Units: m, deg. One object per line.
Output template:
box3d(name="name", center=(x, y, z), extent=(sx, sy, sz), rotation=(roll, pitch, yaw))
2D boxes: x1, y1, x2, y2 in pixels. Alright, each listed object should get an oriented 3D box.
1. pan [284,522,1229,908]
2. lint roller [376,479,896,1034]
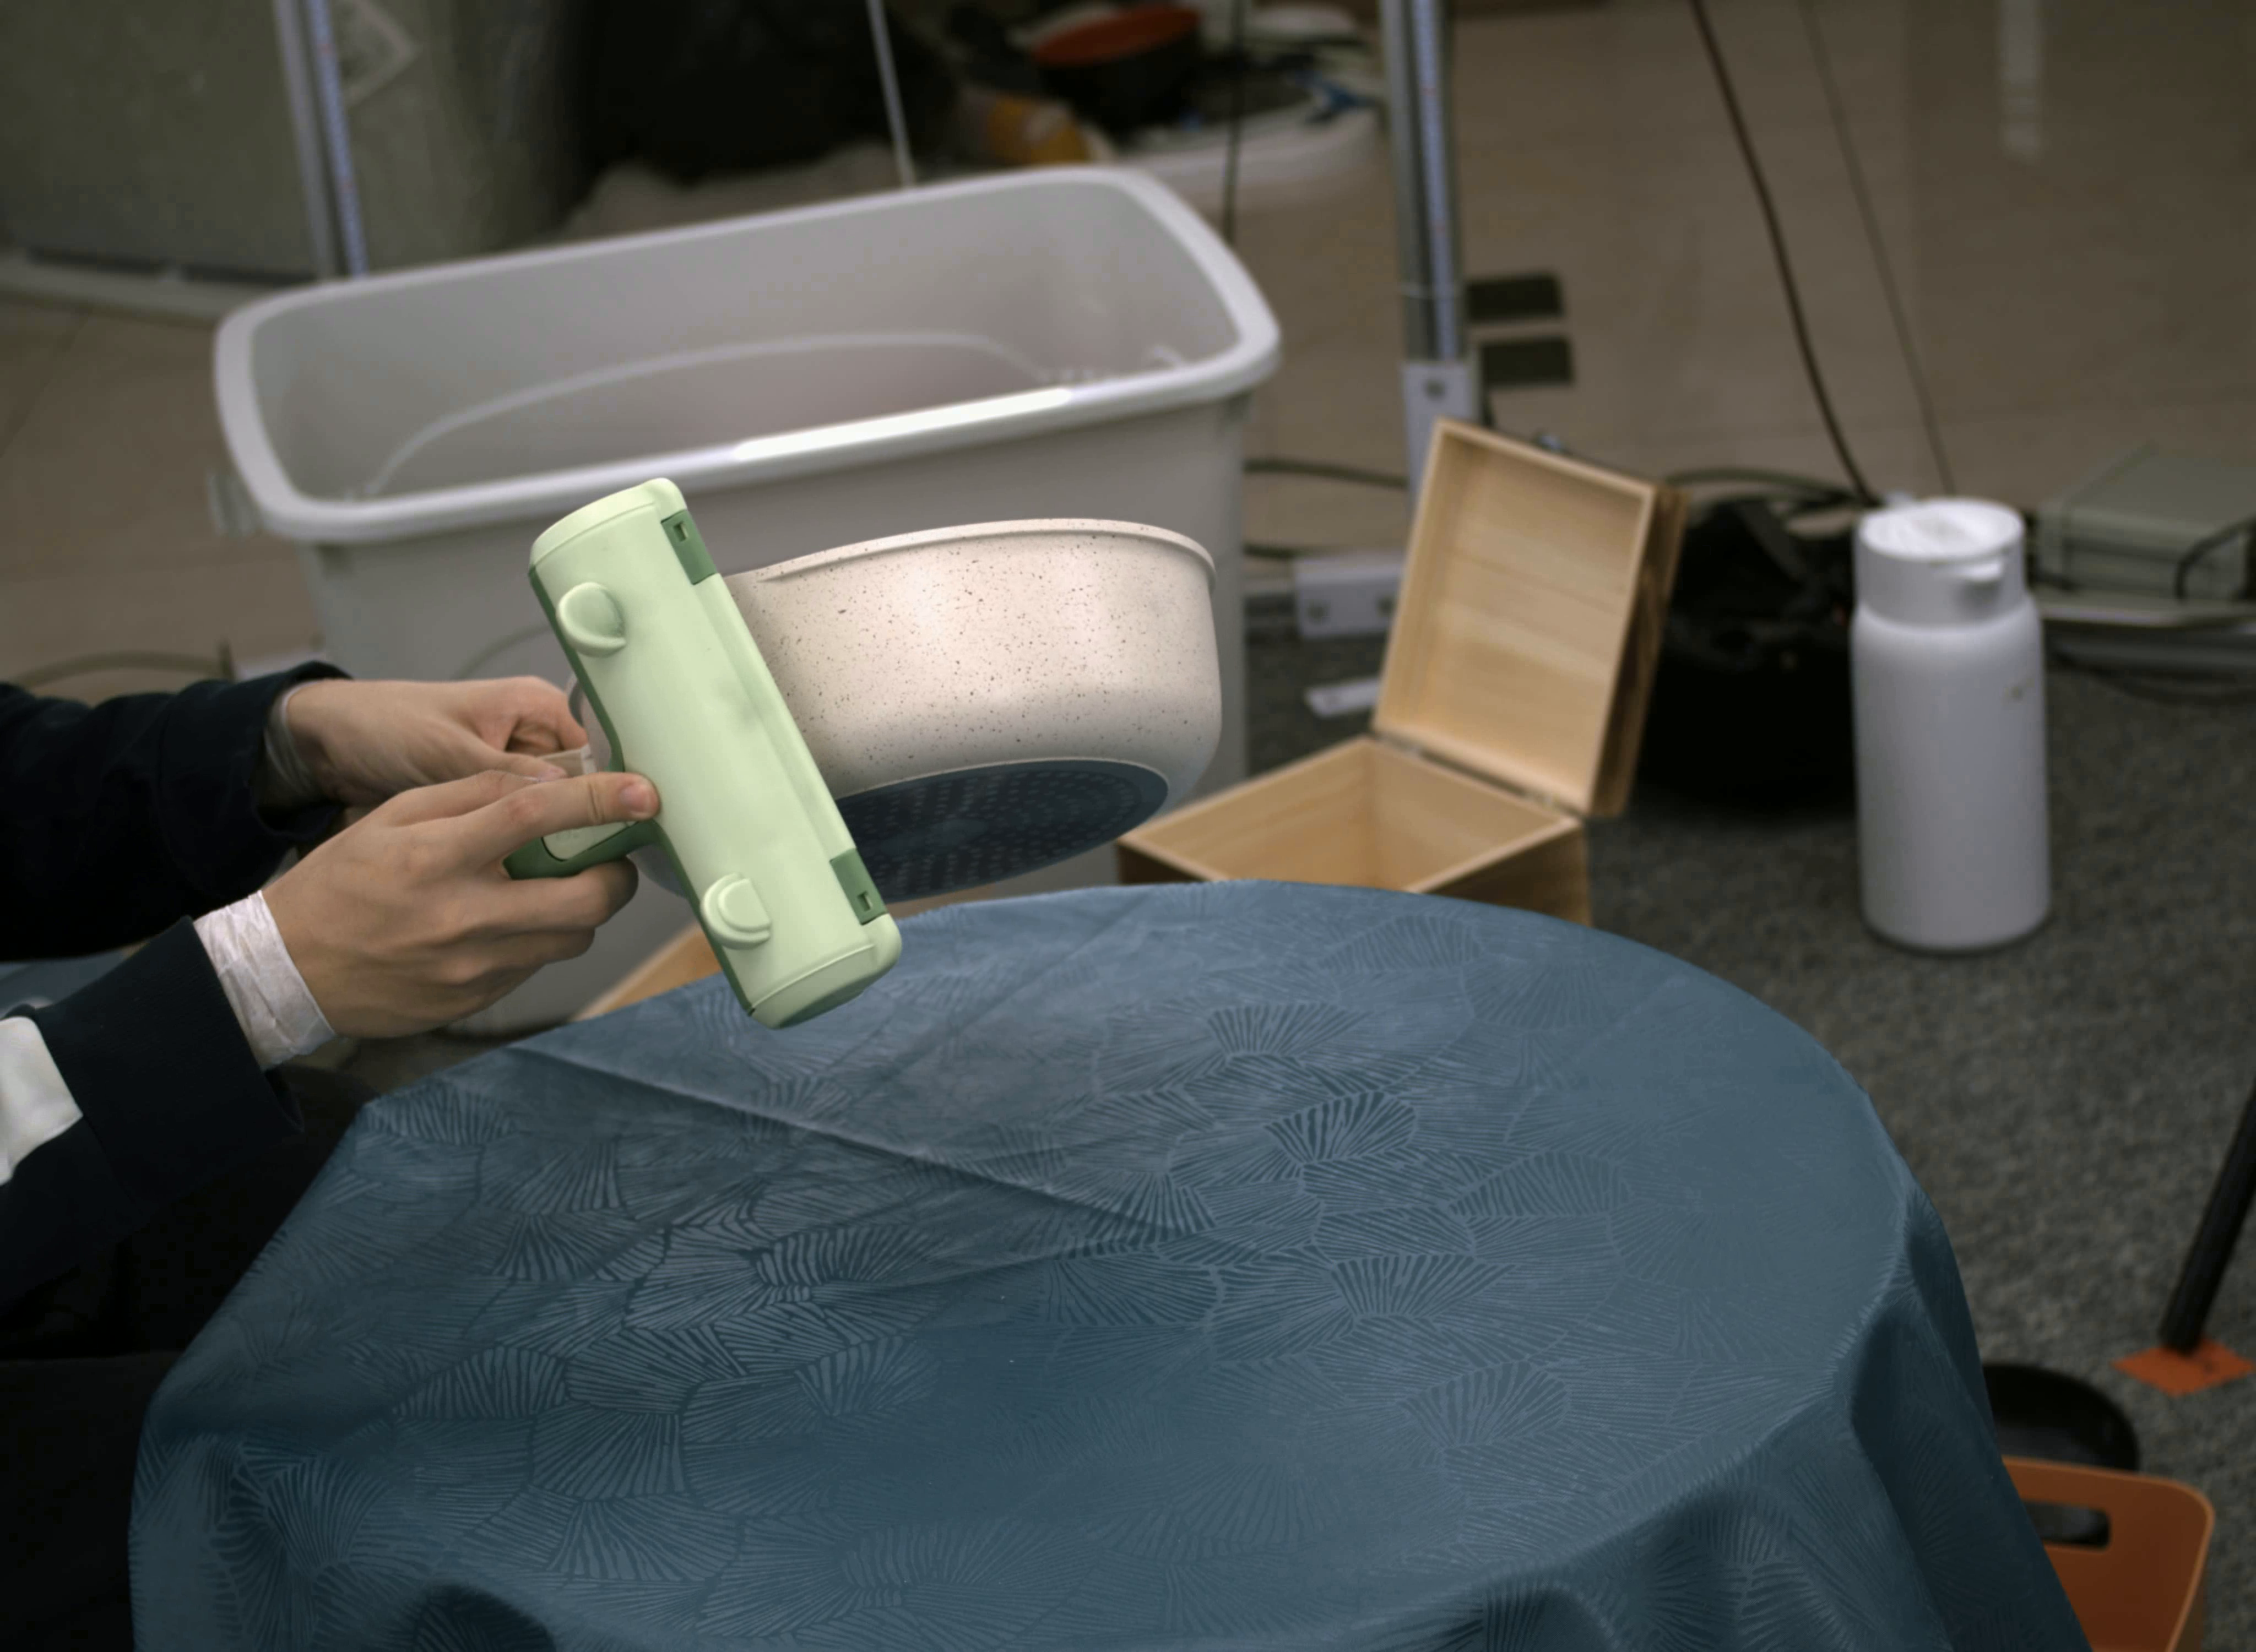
box3d(name="pan", center=(-0.154, -0.013, 2.189), extent=(0.437, 0.101, 0.263), rotation=(-21, -13, 32))
box3d(name="lint roller", center=(-0.199, 0.002, 2.008), extent=(0.184, 0.198, 0.082), rotation=(-28, -6, 12))
